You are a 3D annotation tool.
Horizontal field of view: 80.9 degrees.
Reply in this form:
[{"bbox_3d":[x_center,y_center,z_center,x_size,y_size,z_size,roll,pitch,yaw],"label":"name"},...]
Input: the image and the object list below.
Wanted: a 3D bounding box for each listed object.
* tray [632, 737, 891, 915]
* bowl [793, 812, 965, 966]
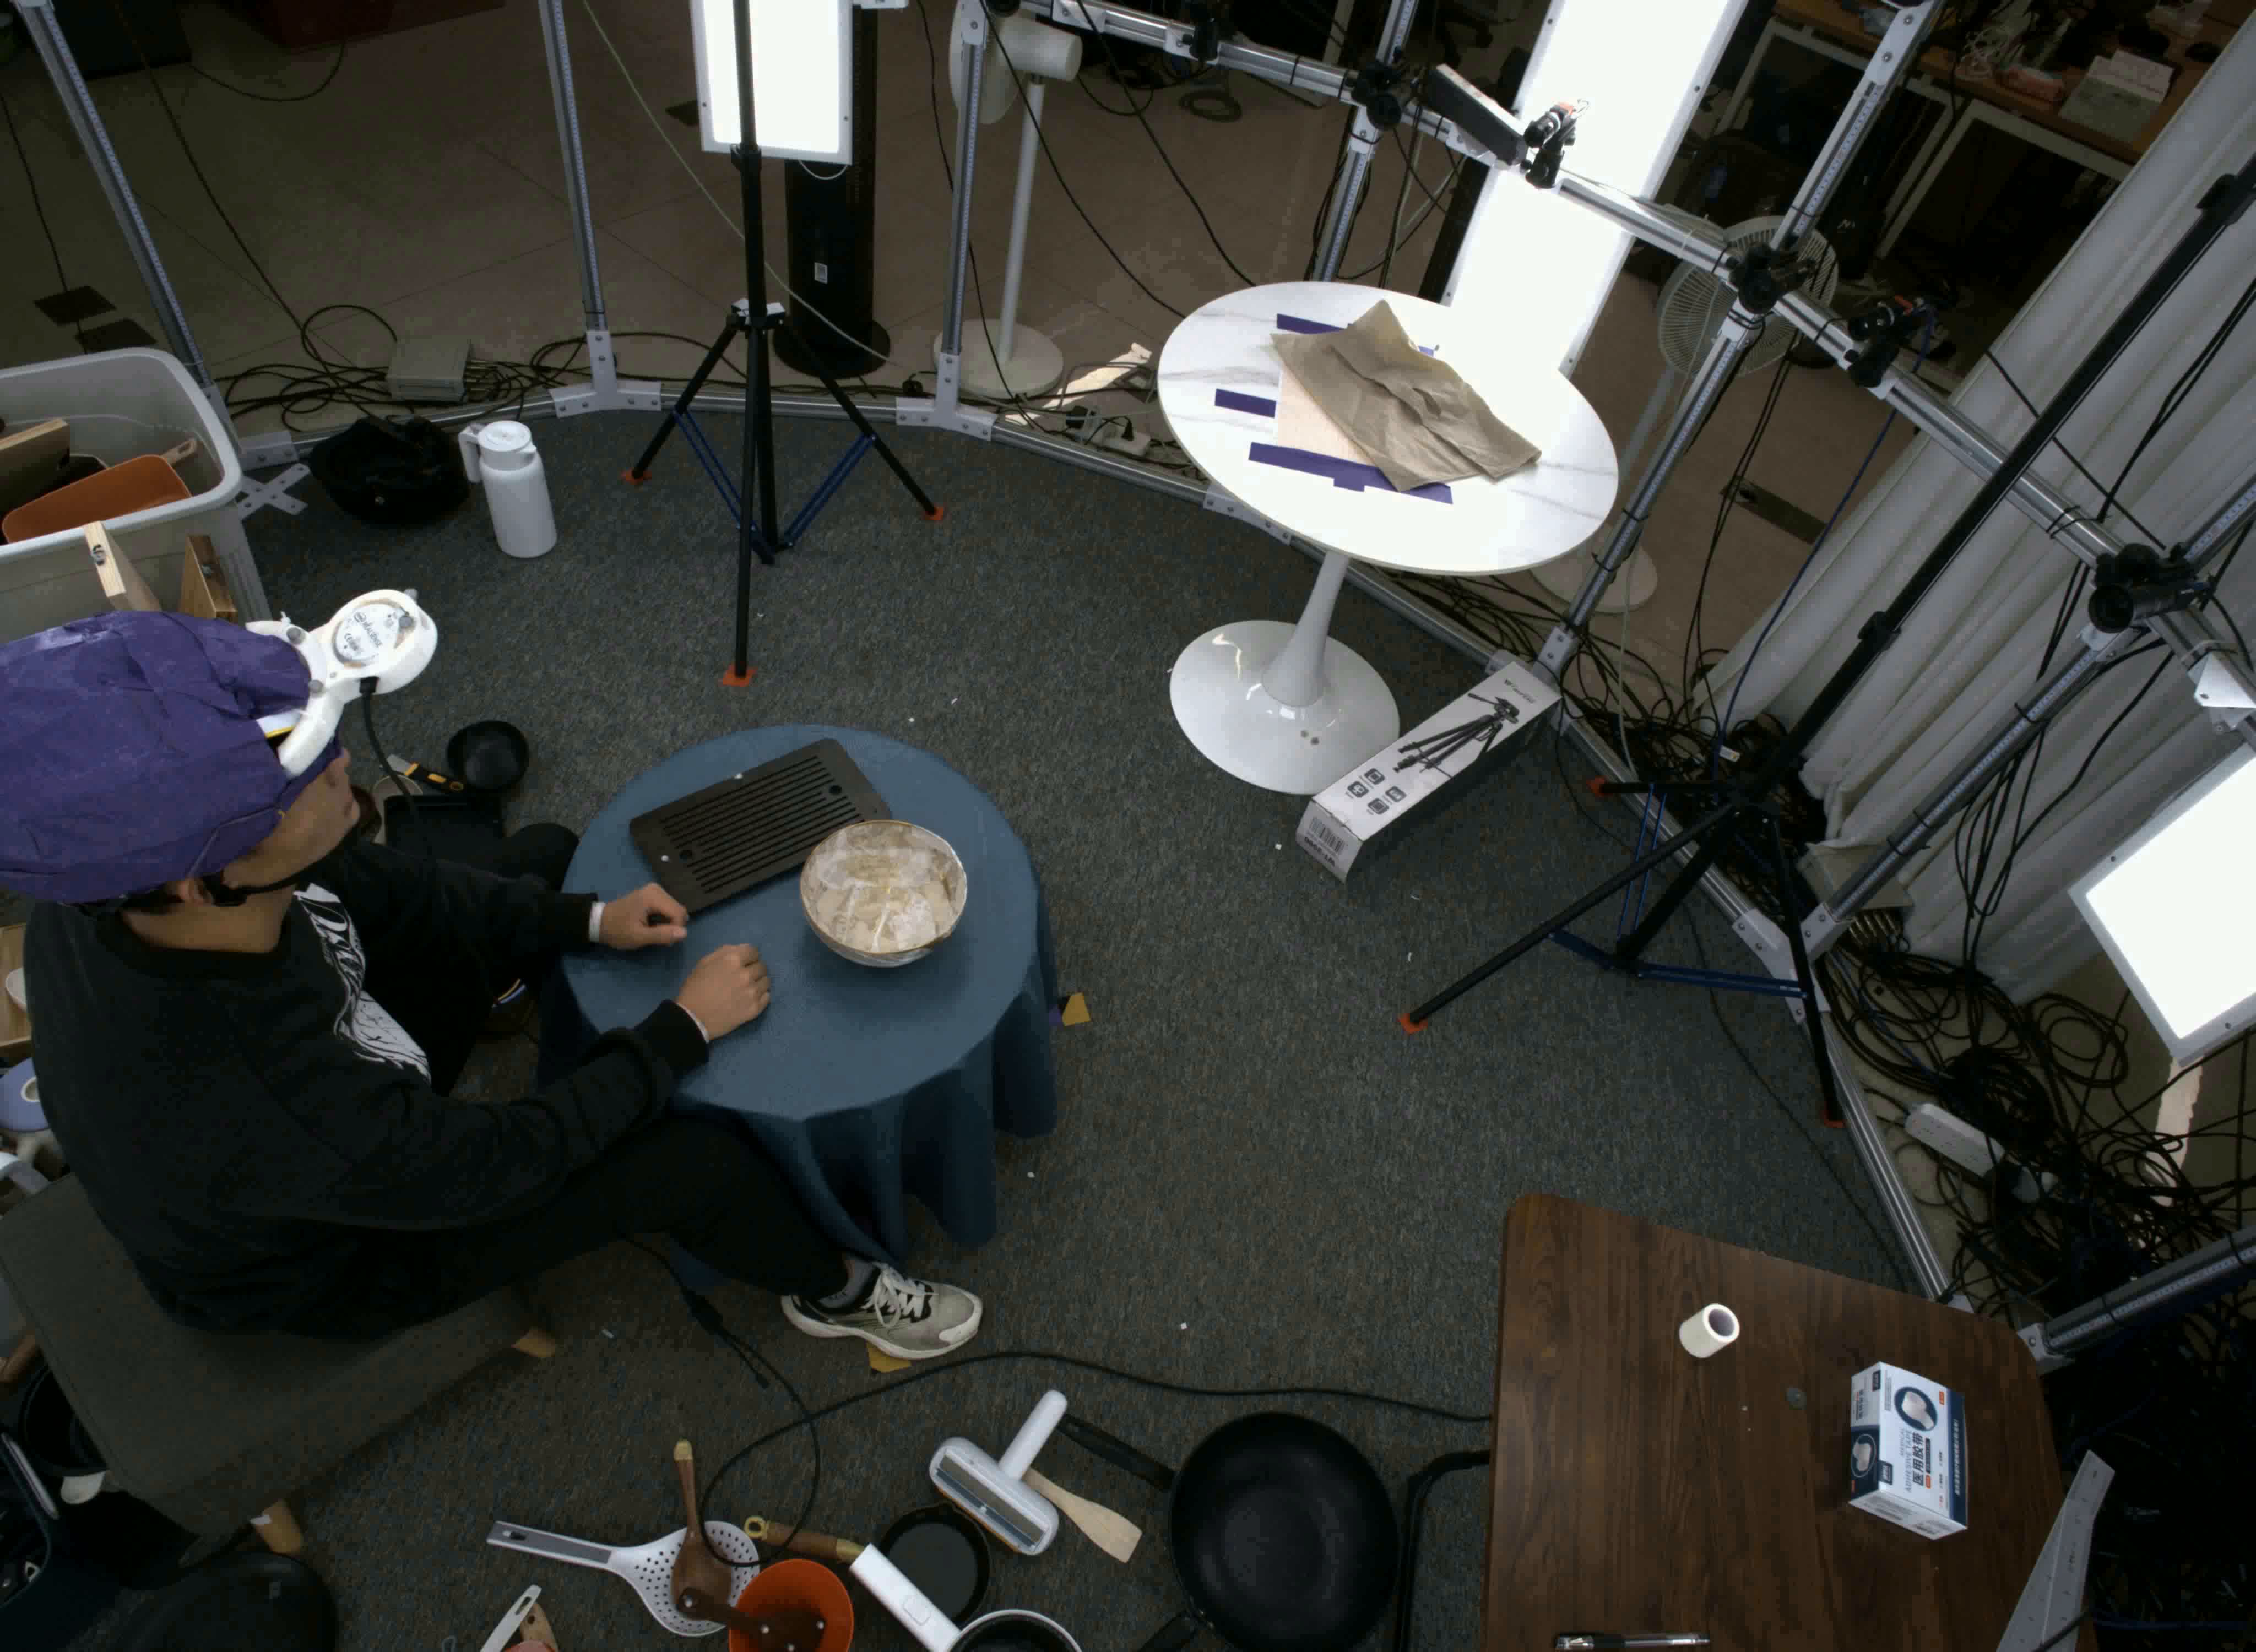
[{"bbox_3d":[-0.482,-0.005,1.707,0.307,0.019,0.166,-28,65,-30],"label":"tray"},{"bbox_3d":[-0.311,0.094,1.628,0.214,0.096,0.211,8,53,-9],"label":"bowl"}]
